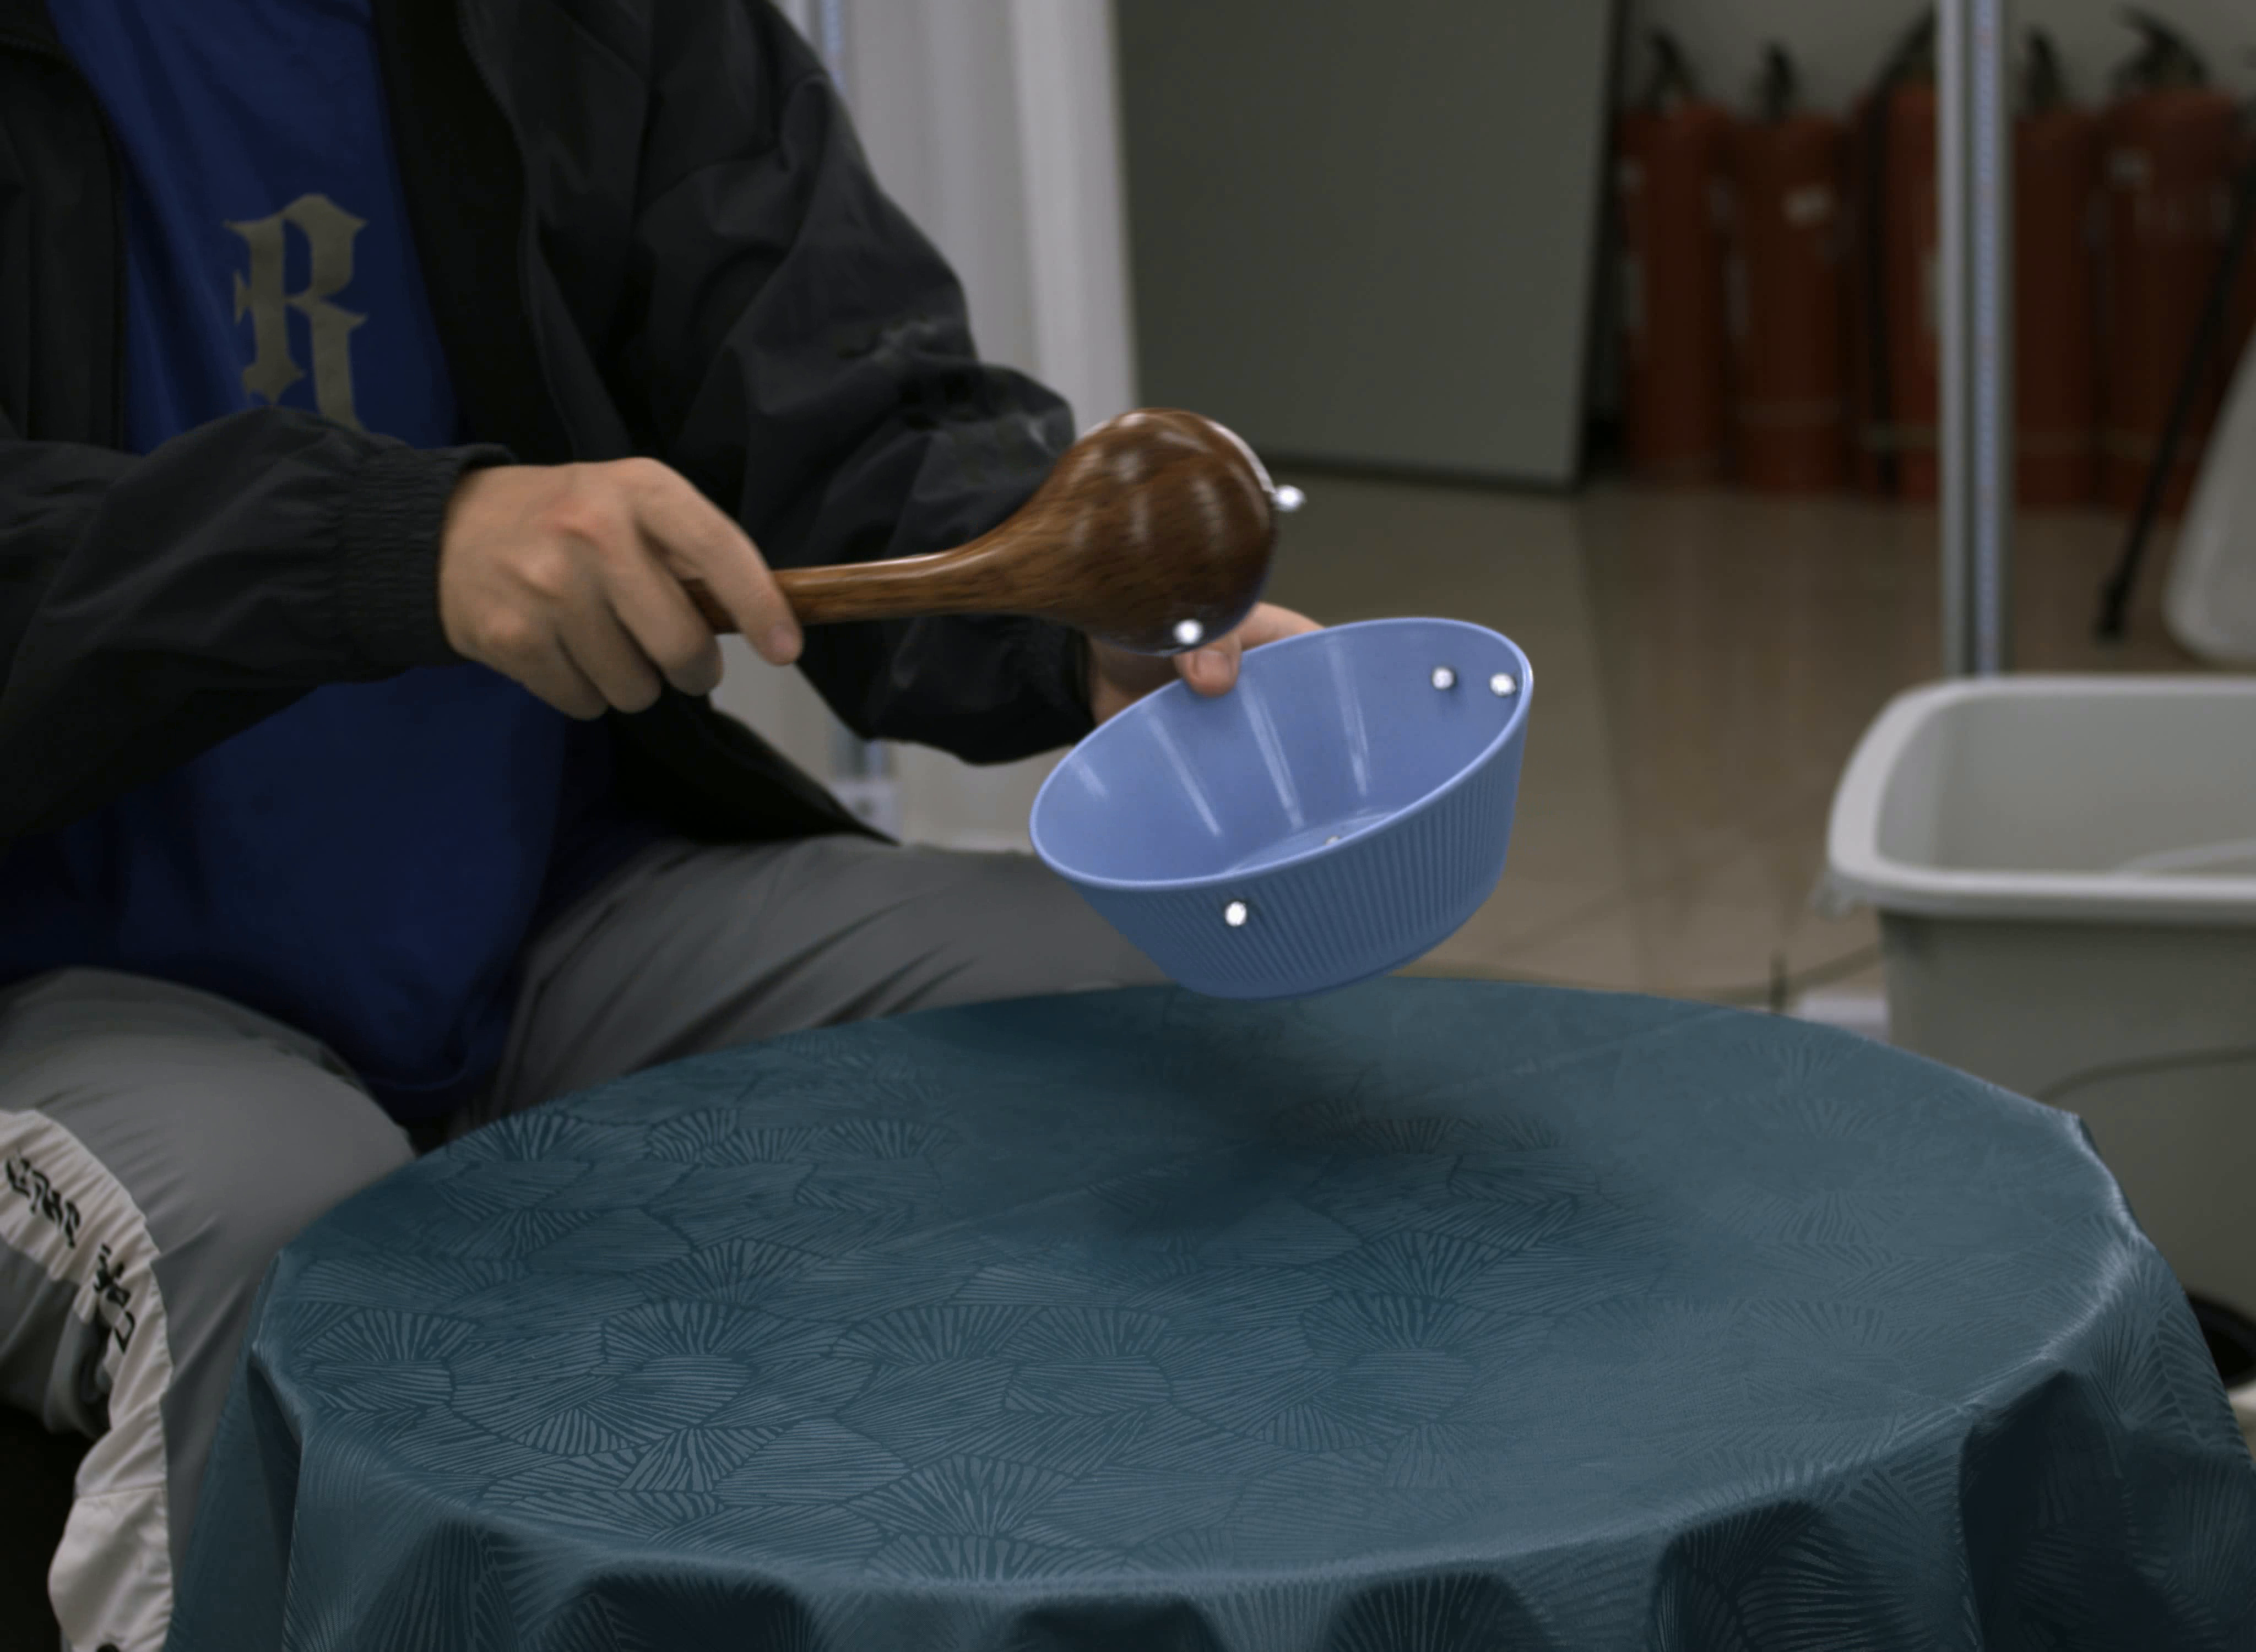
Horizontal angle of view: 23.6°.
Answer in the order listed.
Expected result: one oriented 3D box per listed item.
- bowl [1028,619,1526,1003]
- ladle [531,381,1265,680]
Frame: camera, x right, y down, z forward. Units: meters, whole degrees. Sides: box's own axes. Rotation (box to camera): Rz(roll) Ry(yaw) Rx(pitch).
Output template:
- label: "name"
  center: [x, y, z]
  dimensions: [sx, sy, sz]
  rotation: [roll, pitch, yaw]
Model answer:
- label: "bowl"
  center: [0.058, 0.002, 1.789]
  dimensions: [0.175, 0.070, 0.176]
  rotation: [-19, 22, 7]
- label: "ladle"
  center: [-0.077, -0.088, 1.783]
  dimensions: [0.276, 0.083, 0.075]
  rotation: [-8, 10, 39]
